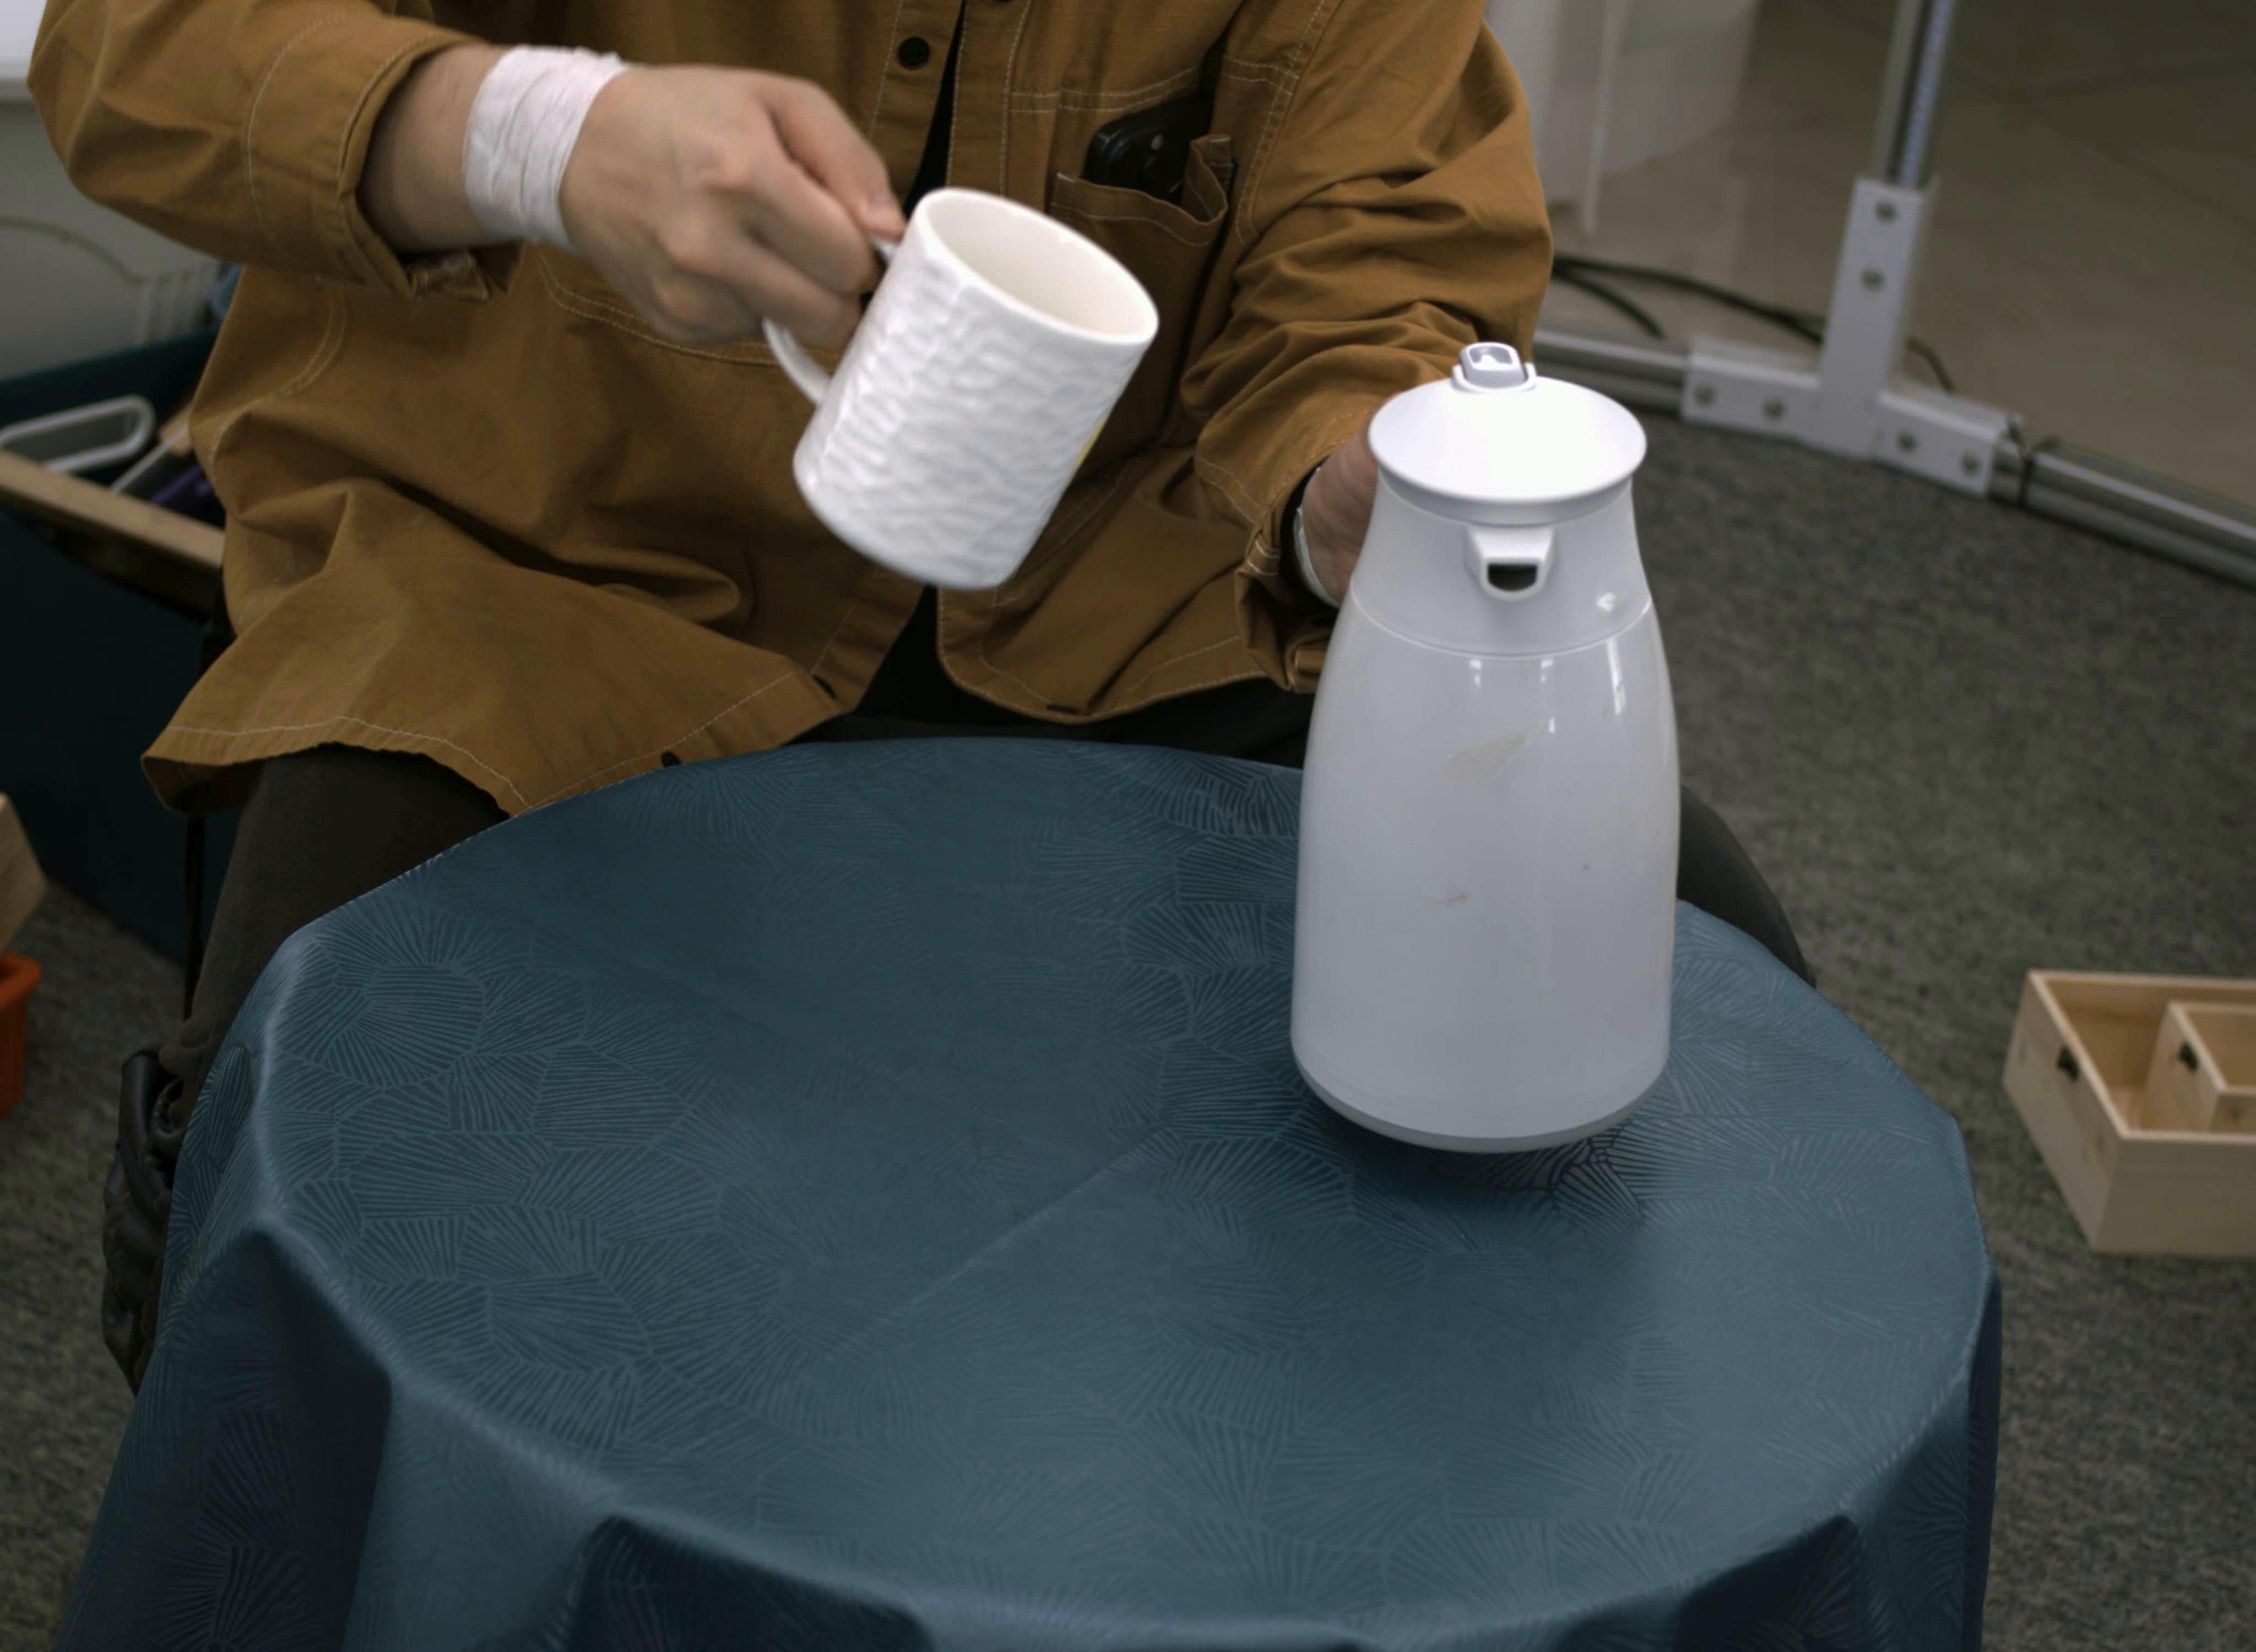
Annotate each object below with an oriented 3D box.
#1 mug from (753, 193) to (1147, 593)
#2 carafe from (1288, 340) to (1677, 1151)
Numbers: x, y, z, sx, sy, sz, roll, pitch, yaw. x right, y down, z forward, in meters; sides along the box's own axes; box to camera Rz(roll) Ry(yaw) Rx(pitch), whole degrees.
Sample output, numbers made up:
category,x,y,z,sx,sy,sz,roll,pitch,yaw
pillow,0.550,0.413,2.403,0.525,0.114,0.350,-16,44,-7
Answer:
category,x,y,z,sx,sy,sz,roll,pitch,yaw
mug,-0.068,-0.146,1.719,0.118,0.102,0.085,31,25,3
carafe,0.121,-0.038,1.817,0.132,0.247,0.169,-1,30,0
